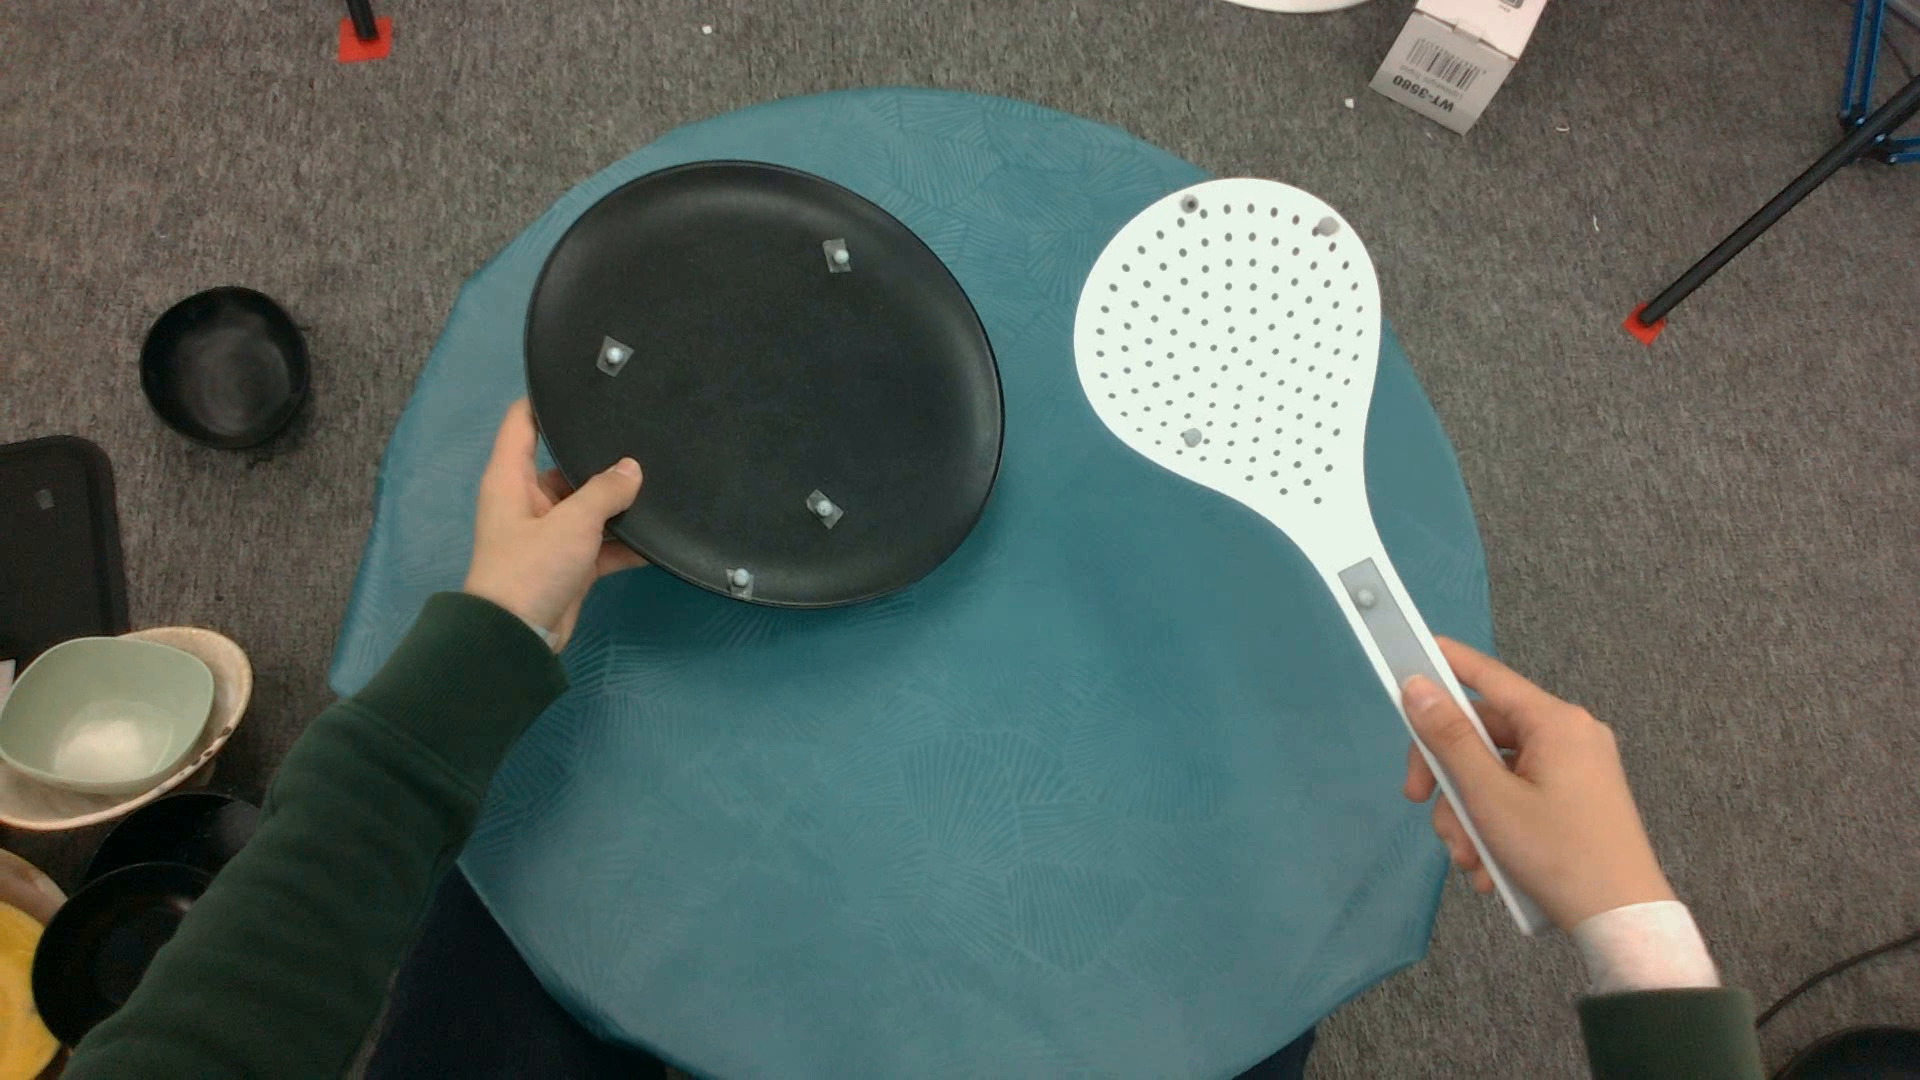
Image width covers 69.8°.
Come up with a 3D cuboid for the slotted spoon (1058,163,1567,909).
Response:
[{"bbox_3d":[0.155,-0.011,0.590,0.136,0.046,0.350,-30,66,14],"label":"slotted spoon"}]

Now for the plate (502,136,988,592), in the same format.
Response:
[{"bbox_3d":[-0.100,-0.088,0.678,0.245,0.023,0.245,10,67,-23],"label":"plate"}]
